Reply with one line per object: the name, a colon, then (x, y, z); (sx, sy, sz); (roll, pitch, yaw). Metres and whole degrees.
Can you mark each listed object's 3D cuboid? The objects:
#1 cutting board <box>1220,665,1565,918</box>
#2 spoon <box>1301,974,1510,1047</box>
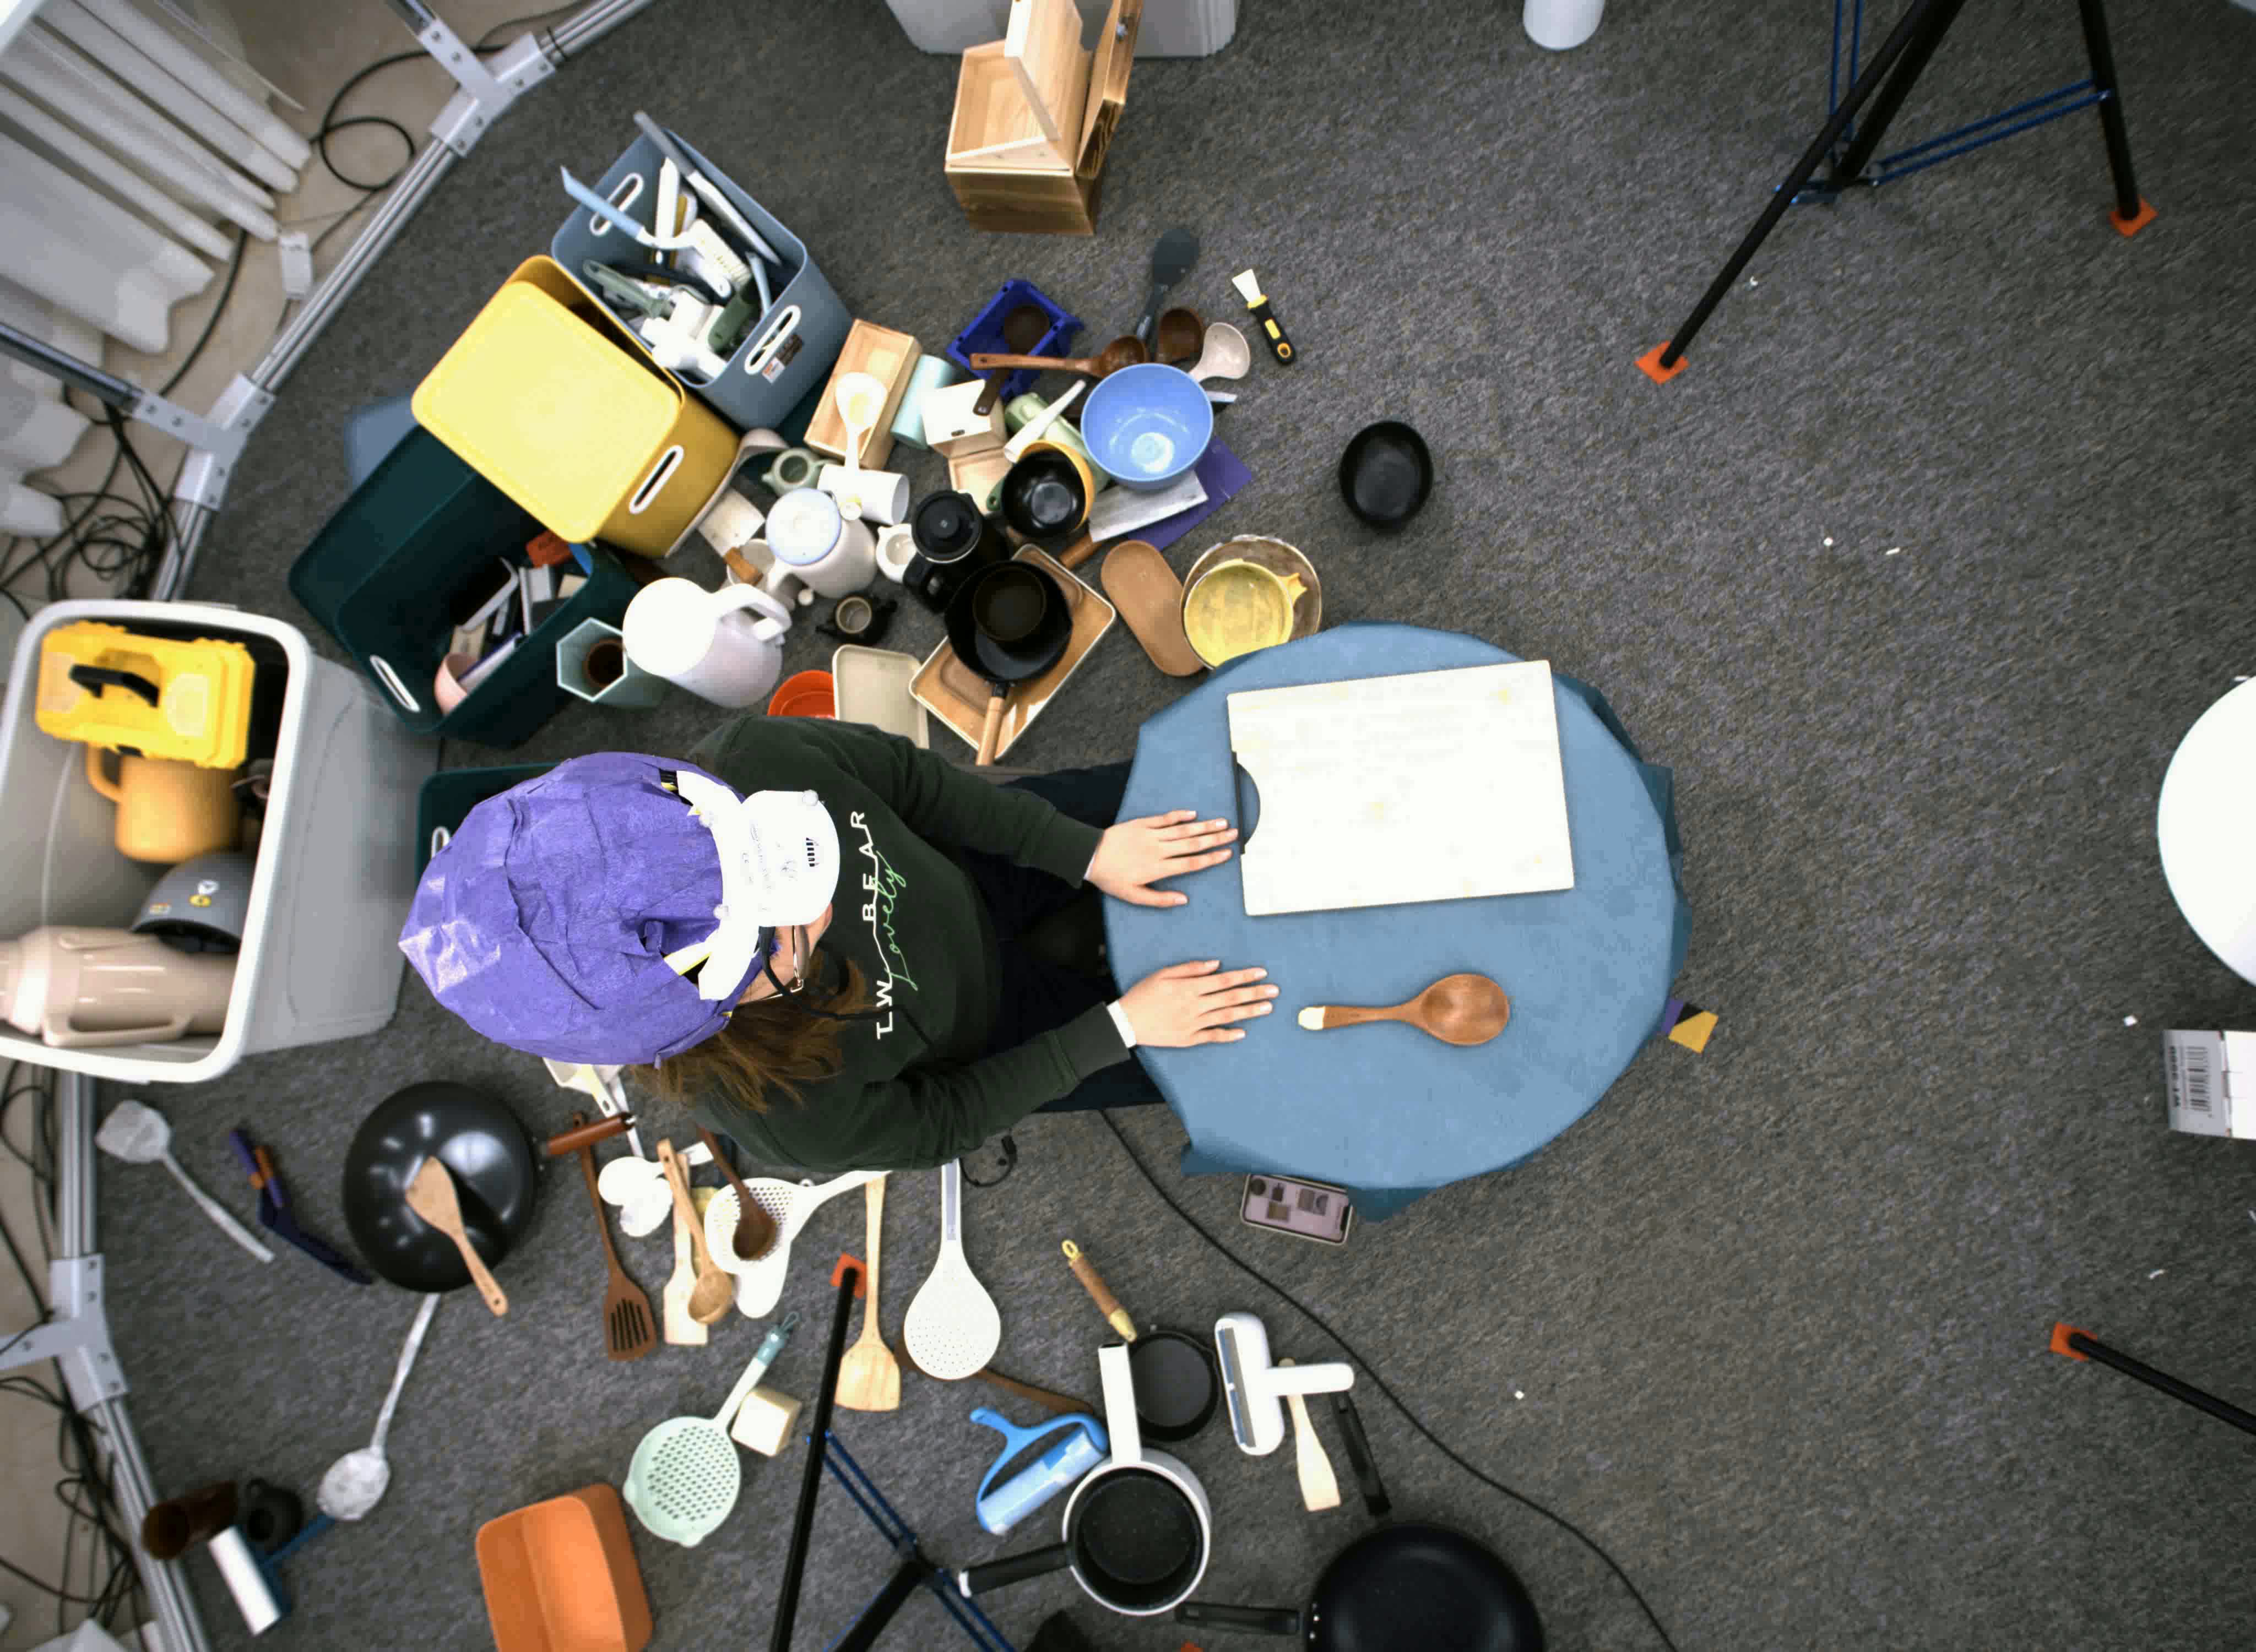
cutting board: (0.280, -0.037, 1.462); (0.350, 0.023, 0.249); (-6, 84, 10)
spoon: (0.288, 0.195, 1.444); (0.217, 0.017, 0.075); (-5, 86, 10)
